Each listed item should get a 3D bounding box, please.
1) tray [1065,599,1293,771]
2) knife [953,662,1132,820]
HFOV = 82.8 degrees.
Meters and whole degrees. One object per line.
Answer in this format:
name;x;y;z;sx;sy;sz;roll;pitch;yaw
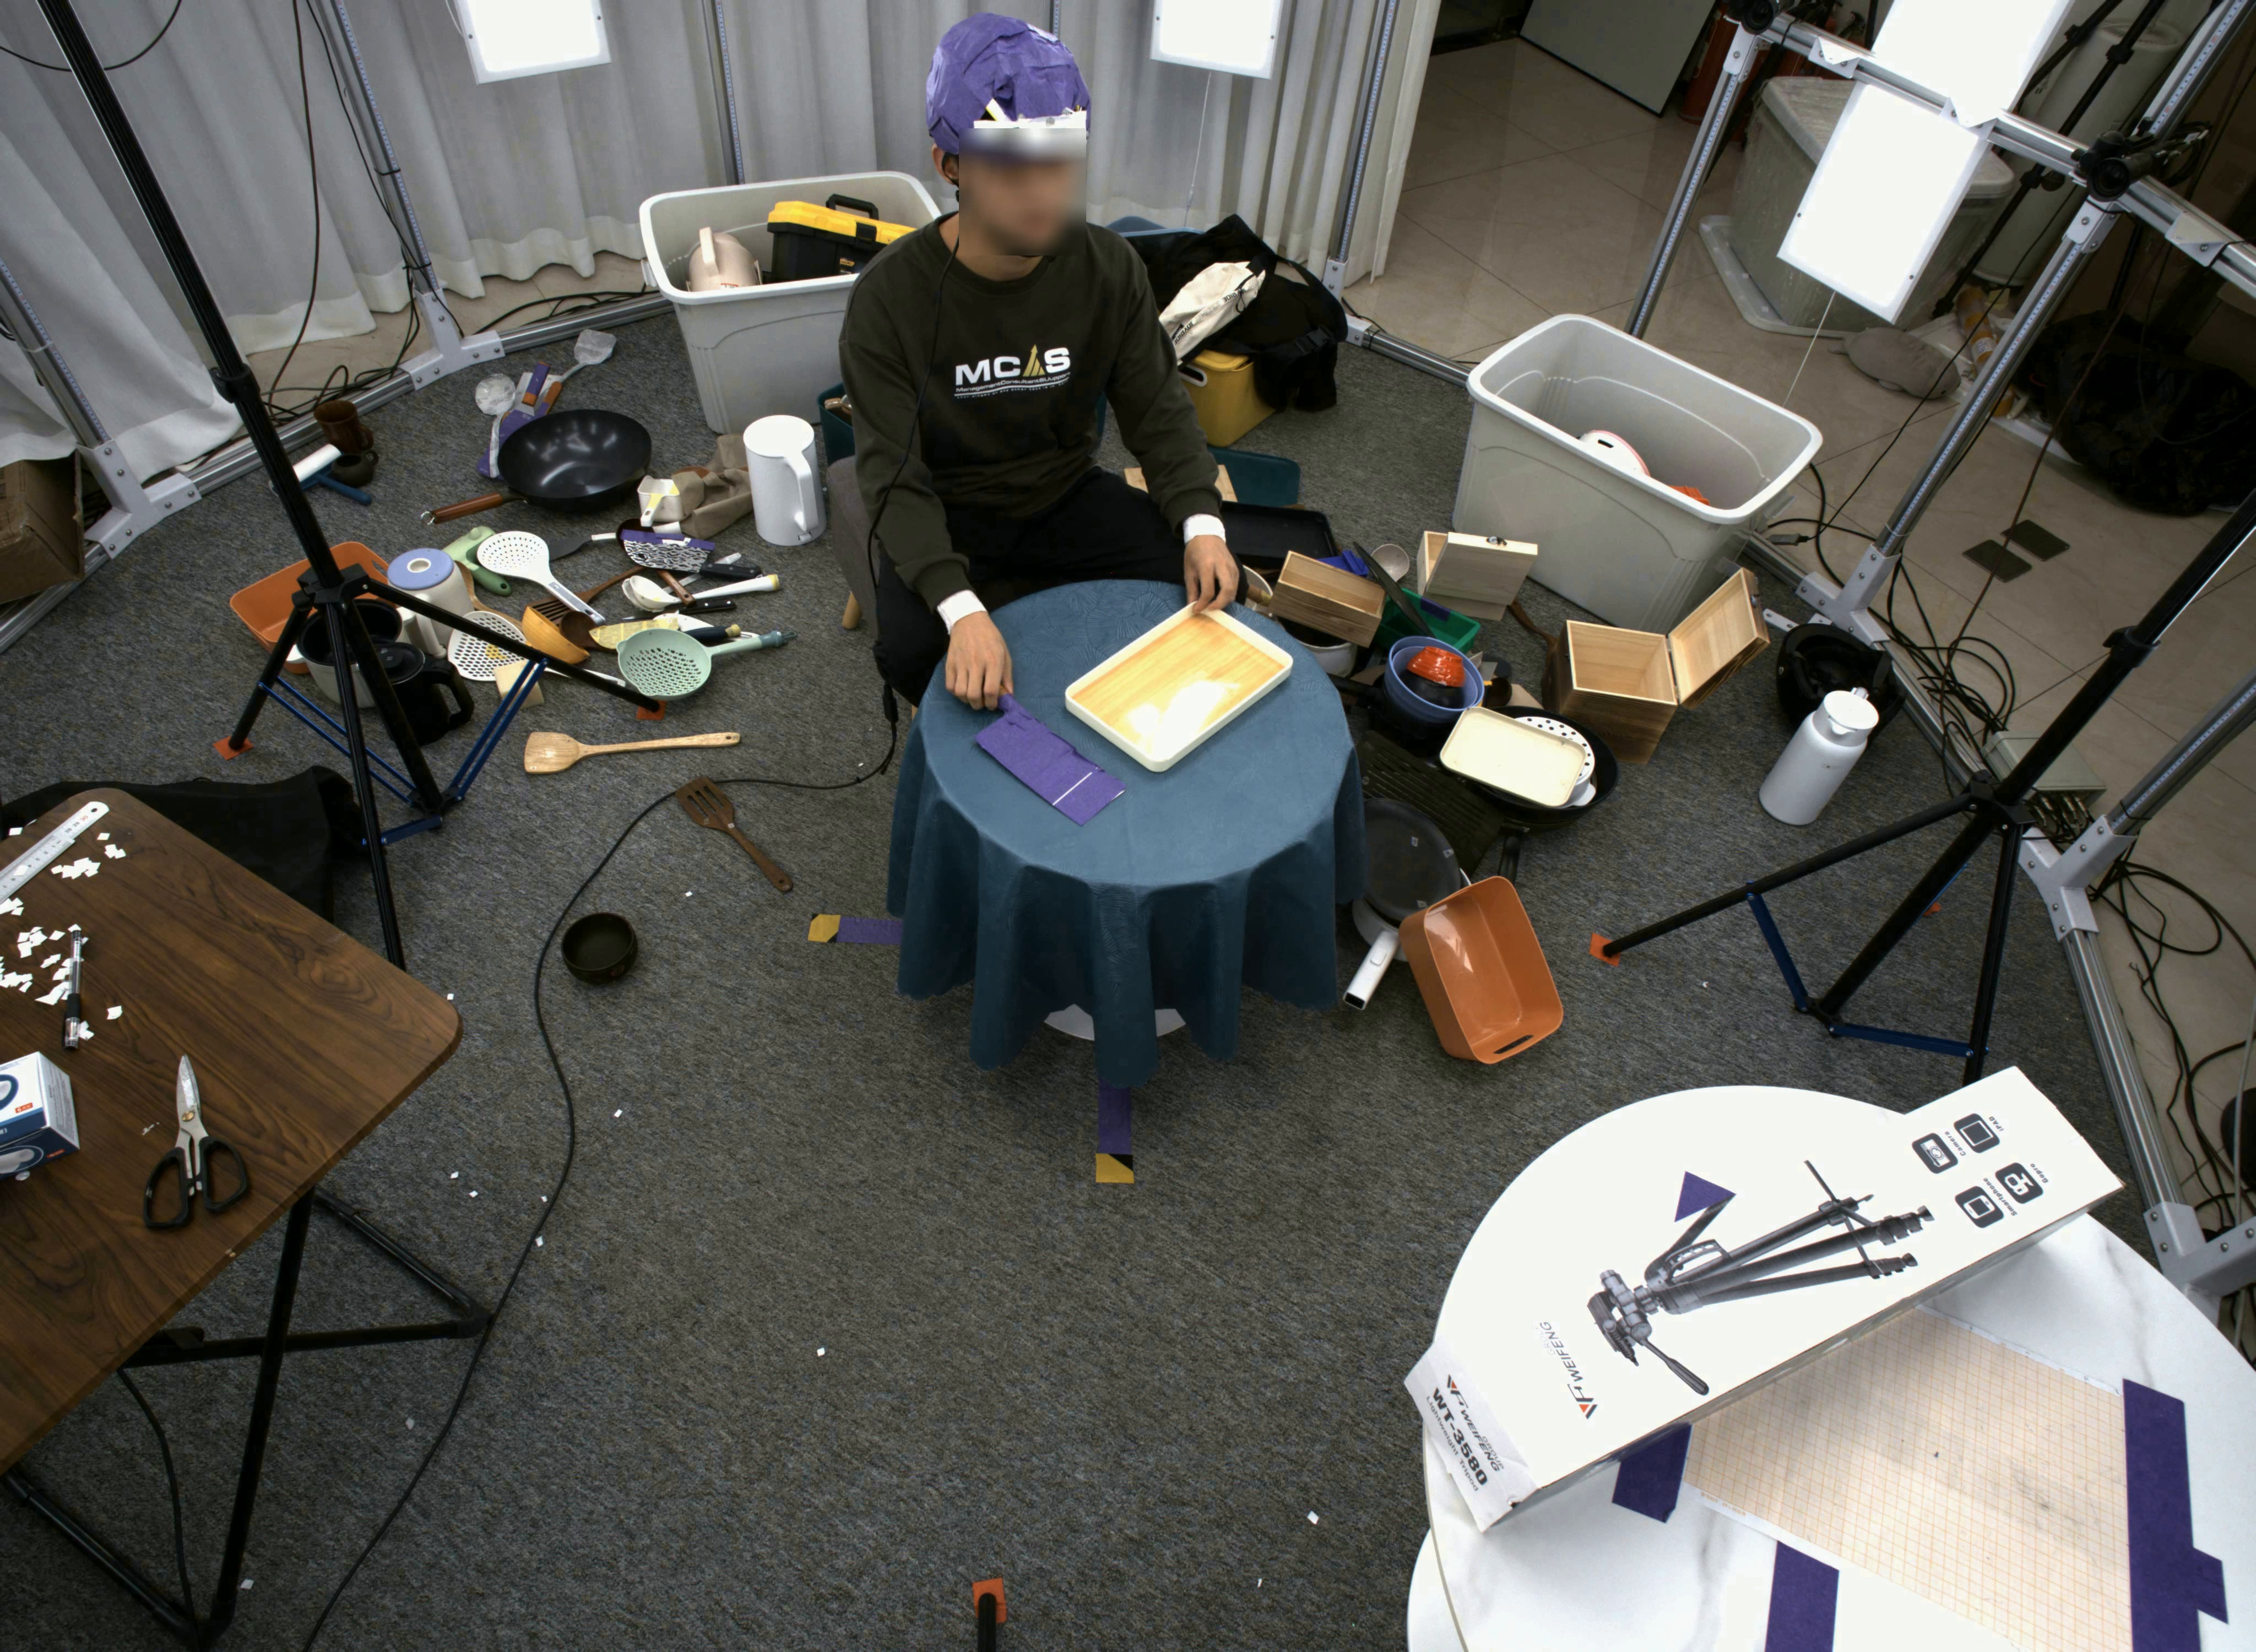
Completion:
tray;0.075;-0.207;1.834;0.194;0.027;0.303;37;56;25
knife;-0.142;-0.118;1.742;0.319;0.031;0.105;37;56;24
